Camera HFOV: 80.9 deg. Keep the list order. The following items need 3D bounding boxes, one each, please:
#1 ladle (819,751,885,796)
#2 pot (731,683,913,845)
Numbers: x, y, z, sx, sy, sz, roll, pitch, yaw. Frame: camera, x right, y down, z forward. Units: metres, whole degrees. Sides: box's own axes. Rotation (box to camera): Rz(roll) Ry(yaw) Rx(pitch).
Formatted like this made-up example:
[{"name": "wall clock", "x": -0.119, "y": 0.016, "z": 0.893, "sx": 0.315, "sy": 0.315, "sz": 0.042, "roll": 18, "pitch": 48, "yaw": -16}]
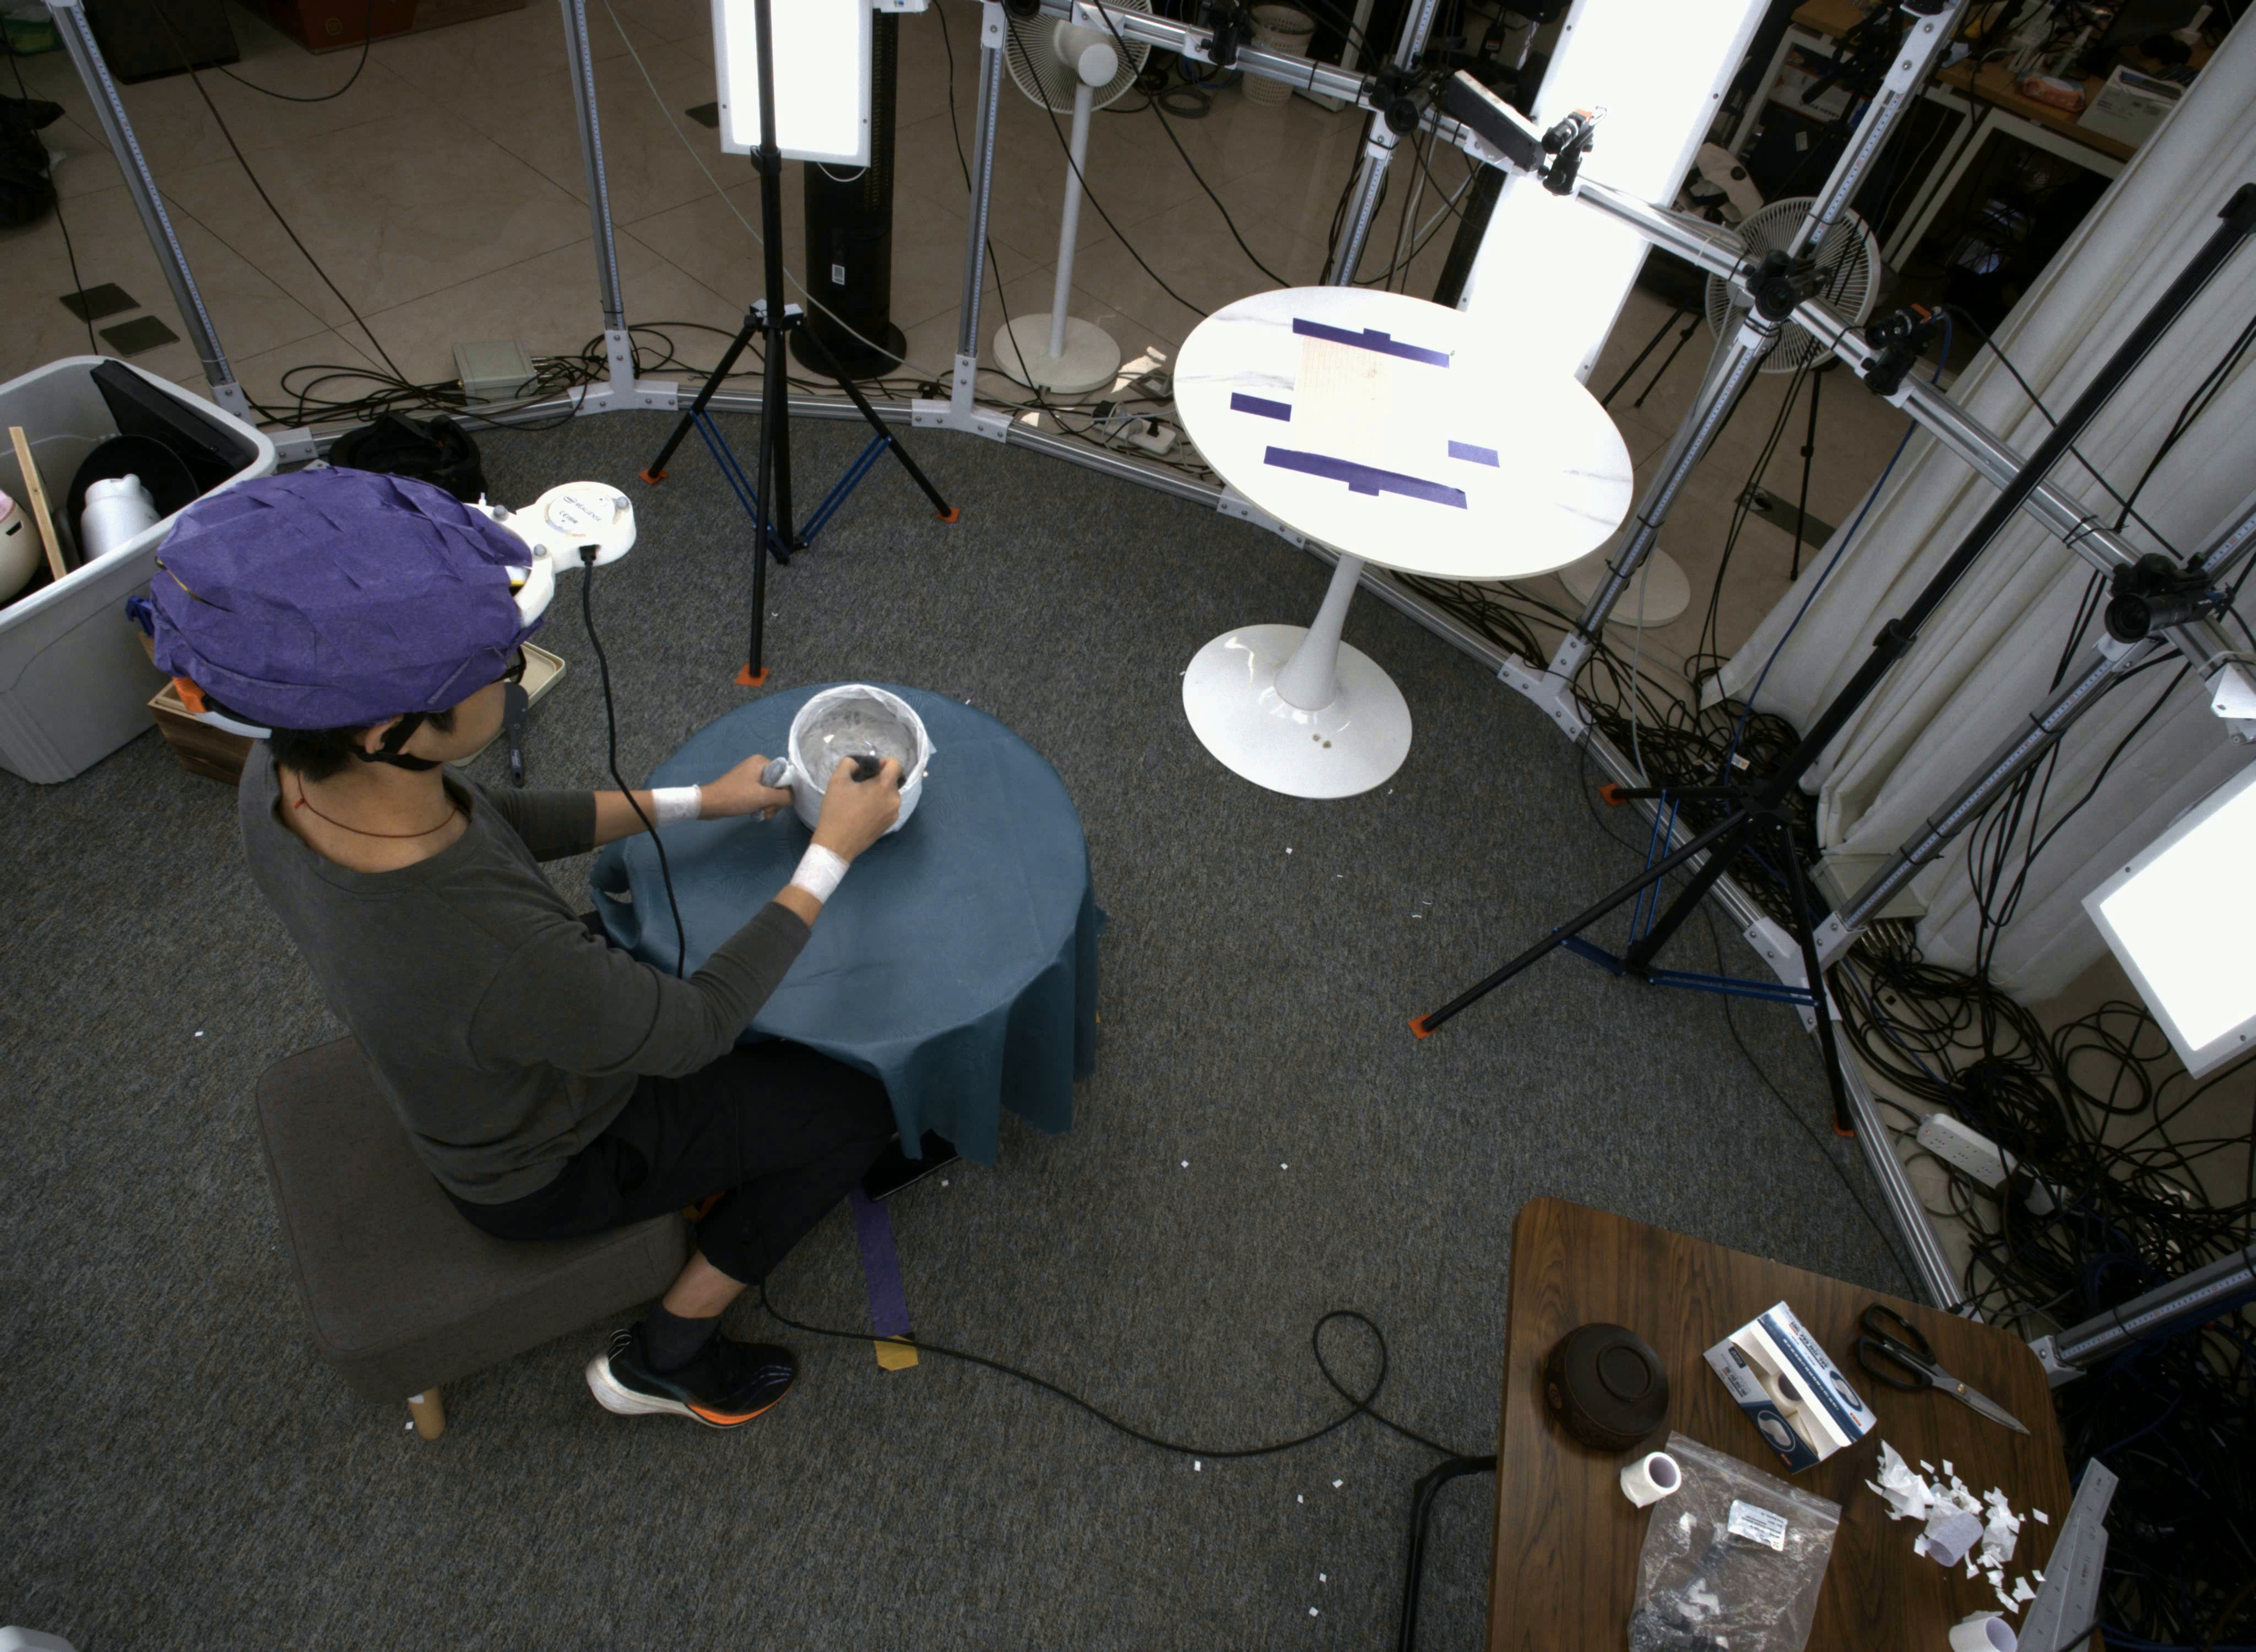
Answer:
[{"name": "ladle", "x": -0.334, "y": -0.082, "z": 1.570, "sx": 0.086, "sy": 0.311, "sz": 0.064, "roll": 6, "pitch": 82, "yaw": -12}, {"name": "pot", "x": -0.402, "y": -0.068, "z": 1.692, "sx": 0.235, "sy": 0.138, "sz": 0.176, "roll": -20, "pitch": 71, "yaw": -25}]
